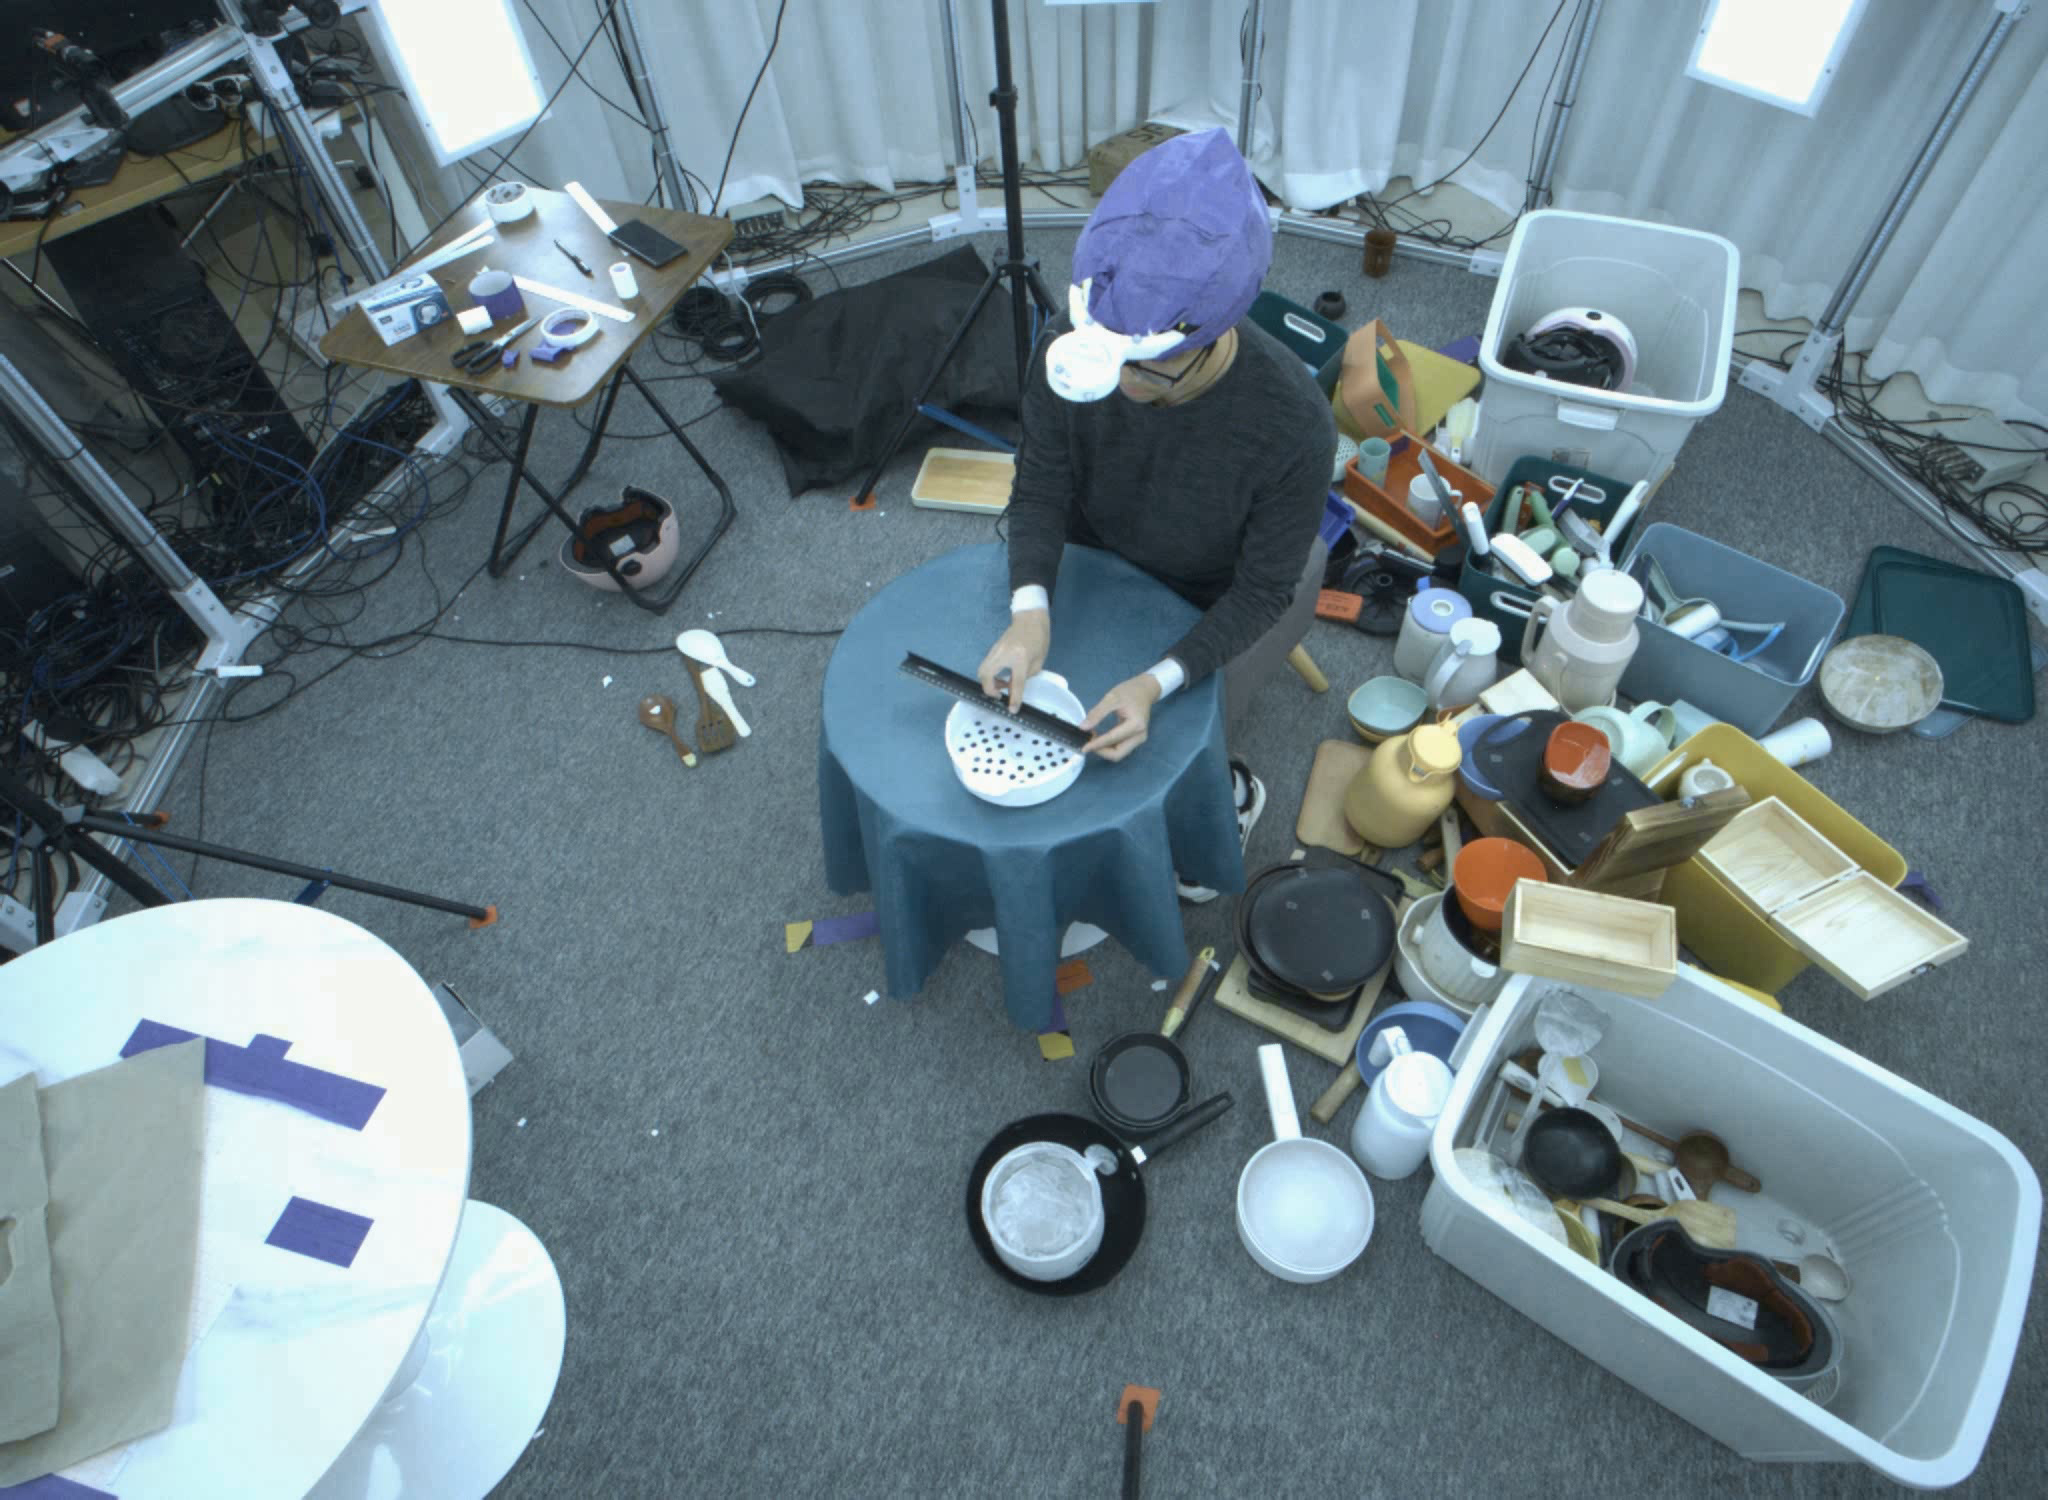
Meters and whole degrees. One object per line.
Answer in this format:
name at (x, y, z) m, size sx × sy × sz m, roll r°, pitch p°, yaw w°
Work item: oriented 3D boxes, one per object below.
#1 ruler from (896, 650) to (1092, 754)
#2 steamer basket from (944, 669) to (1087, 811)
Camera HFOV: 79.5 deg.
ruler at (-0.048, -0.072, 1.745) m, size 0.308 × 0.017 × 0.039 m, roll 25°, pitch 58°, yaw 18°
steamer basket at (-0.011, -0.009, 1.752) m, size 0.199 × 0.070 × 0.230 m, roll 19°, pitch 60°, yaw 15°
